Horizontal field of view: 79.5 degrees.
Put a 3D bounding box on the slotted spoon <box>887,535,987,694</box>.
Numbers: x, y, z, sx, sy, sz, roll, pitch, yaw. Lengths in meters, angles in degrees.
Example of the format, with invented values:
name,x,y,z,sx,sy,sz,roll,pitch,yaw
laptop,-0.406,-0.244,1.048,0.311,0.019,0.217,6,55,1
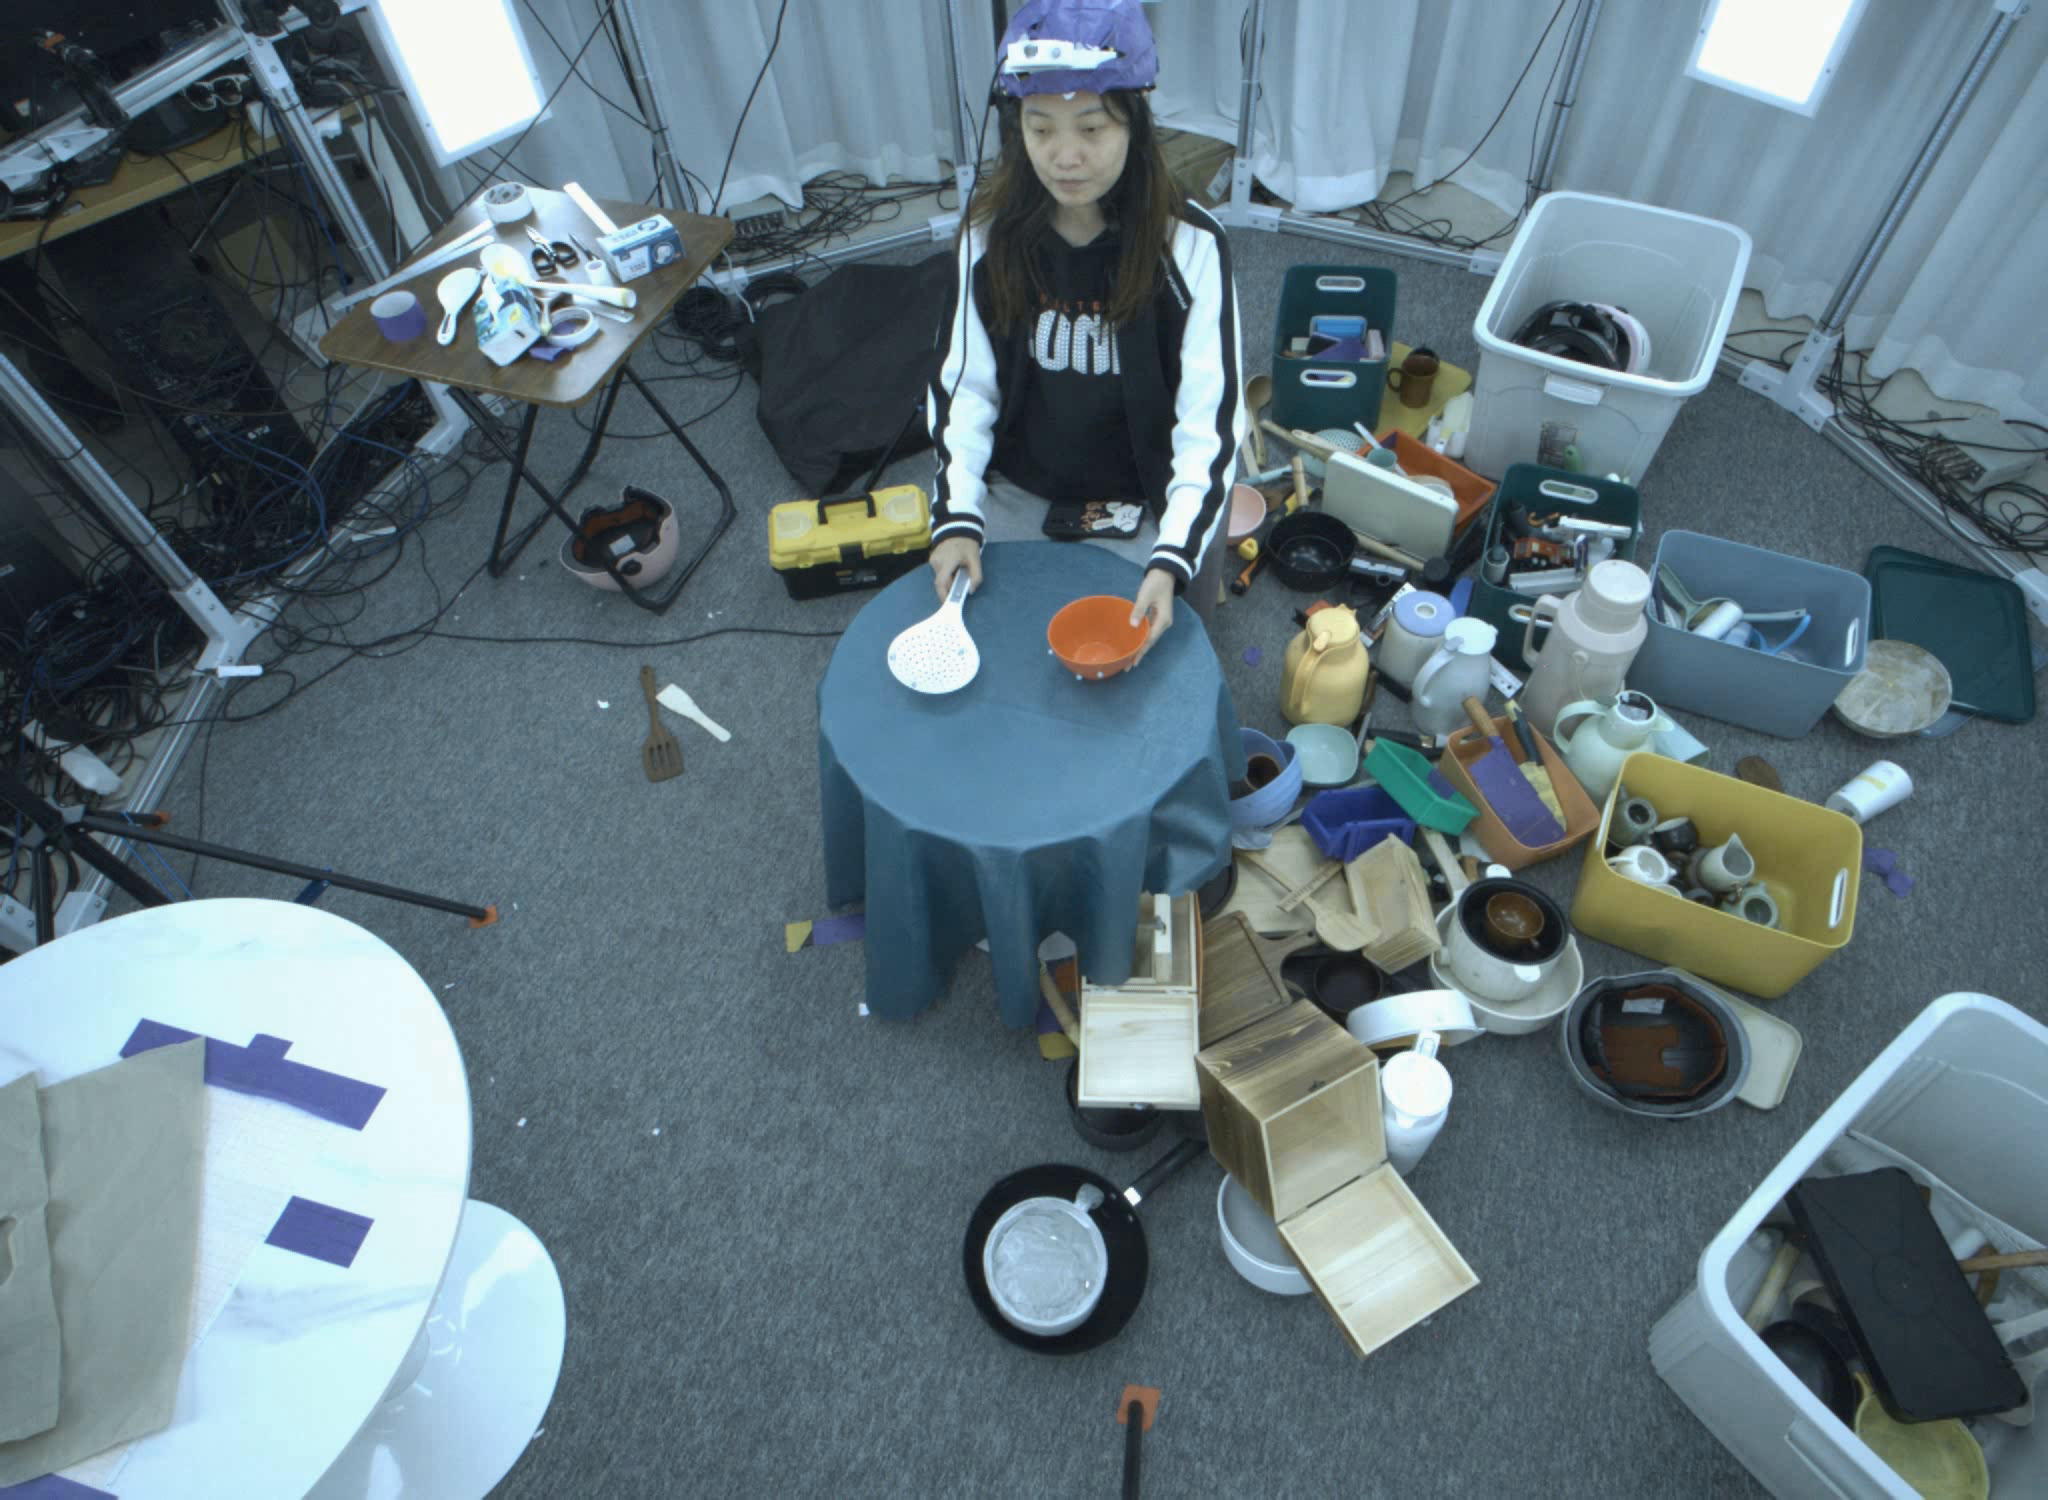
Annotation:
name,x,y,z,sx,sy,sz,roll,pitch,yaw
slotted spoon,-0.115,-0.216,1.911,0.136,0.046,0.348,15,58,1

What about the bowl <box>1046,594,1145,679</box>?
name,x,y,z,sx,sy,sz,roll,pitch,yaw
bowl,0.111,-0.154,1.823,0.147,0.106,0.146,-5,57,8
